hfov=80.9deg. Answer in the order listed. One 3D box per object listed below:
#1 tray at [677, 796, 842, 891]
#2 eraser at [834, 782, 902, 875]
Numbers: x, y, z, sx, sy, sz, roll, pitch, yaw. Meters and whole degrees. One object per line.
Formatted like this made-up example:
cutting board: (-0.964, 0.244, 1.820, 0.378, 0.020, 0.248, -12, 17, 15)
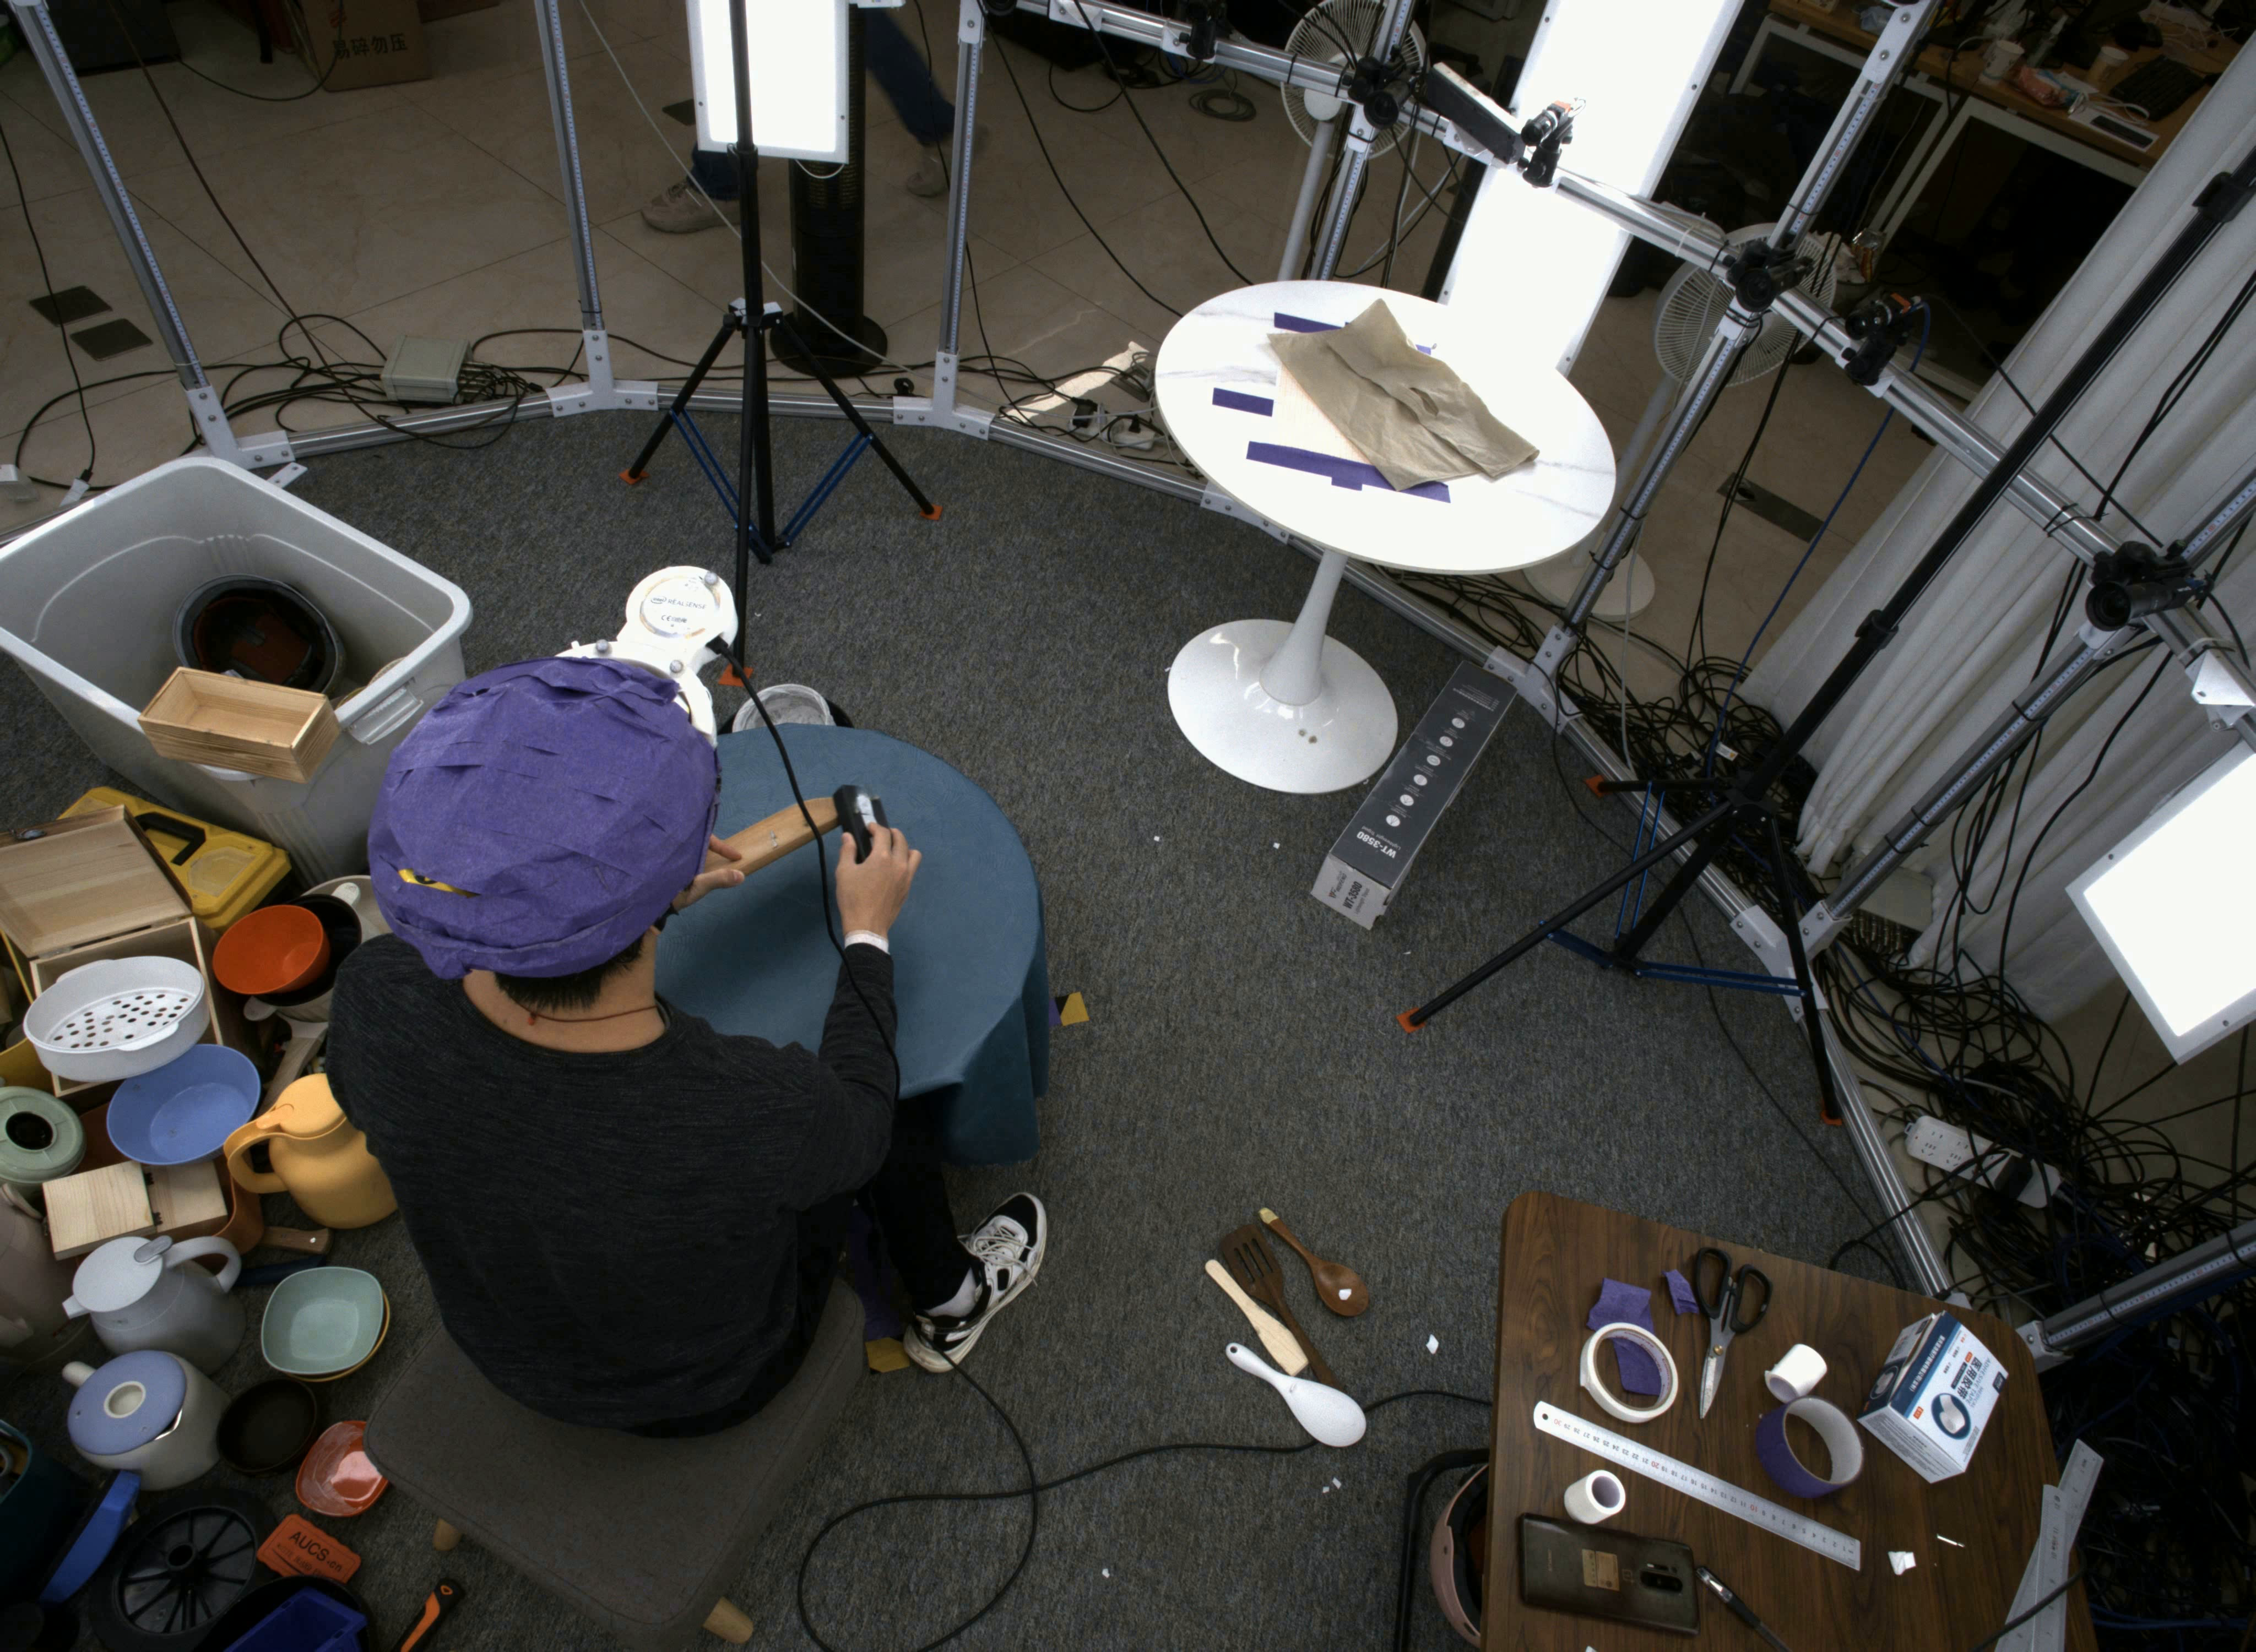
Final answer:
tray: (-0.436, 0.018, 1.554, 0.098, 0.021, 0.232, 7, 31, 41)
eraser: (-0.316, 0.001, 1.569, 0.054, 0.030, 0.122, 1, 53, -38)
